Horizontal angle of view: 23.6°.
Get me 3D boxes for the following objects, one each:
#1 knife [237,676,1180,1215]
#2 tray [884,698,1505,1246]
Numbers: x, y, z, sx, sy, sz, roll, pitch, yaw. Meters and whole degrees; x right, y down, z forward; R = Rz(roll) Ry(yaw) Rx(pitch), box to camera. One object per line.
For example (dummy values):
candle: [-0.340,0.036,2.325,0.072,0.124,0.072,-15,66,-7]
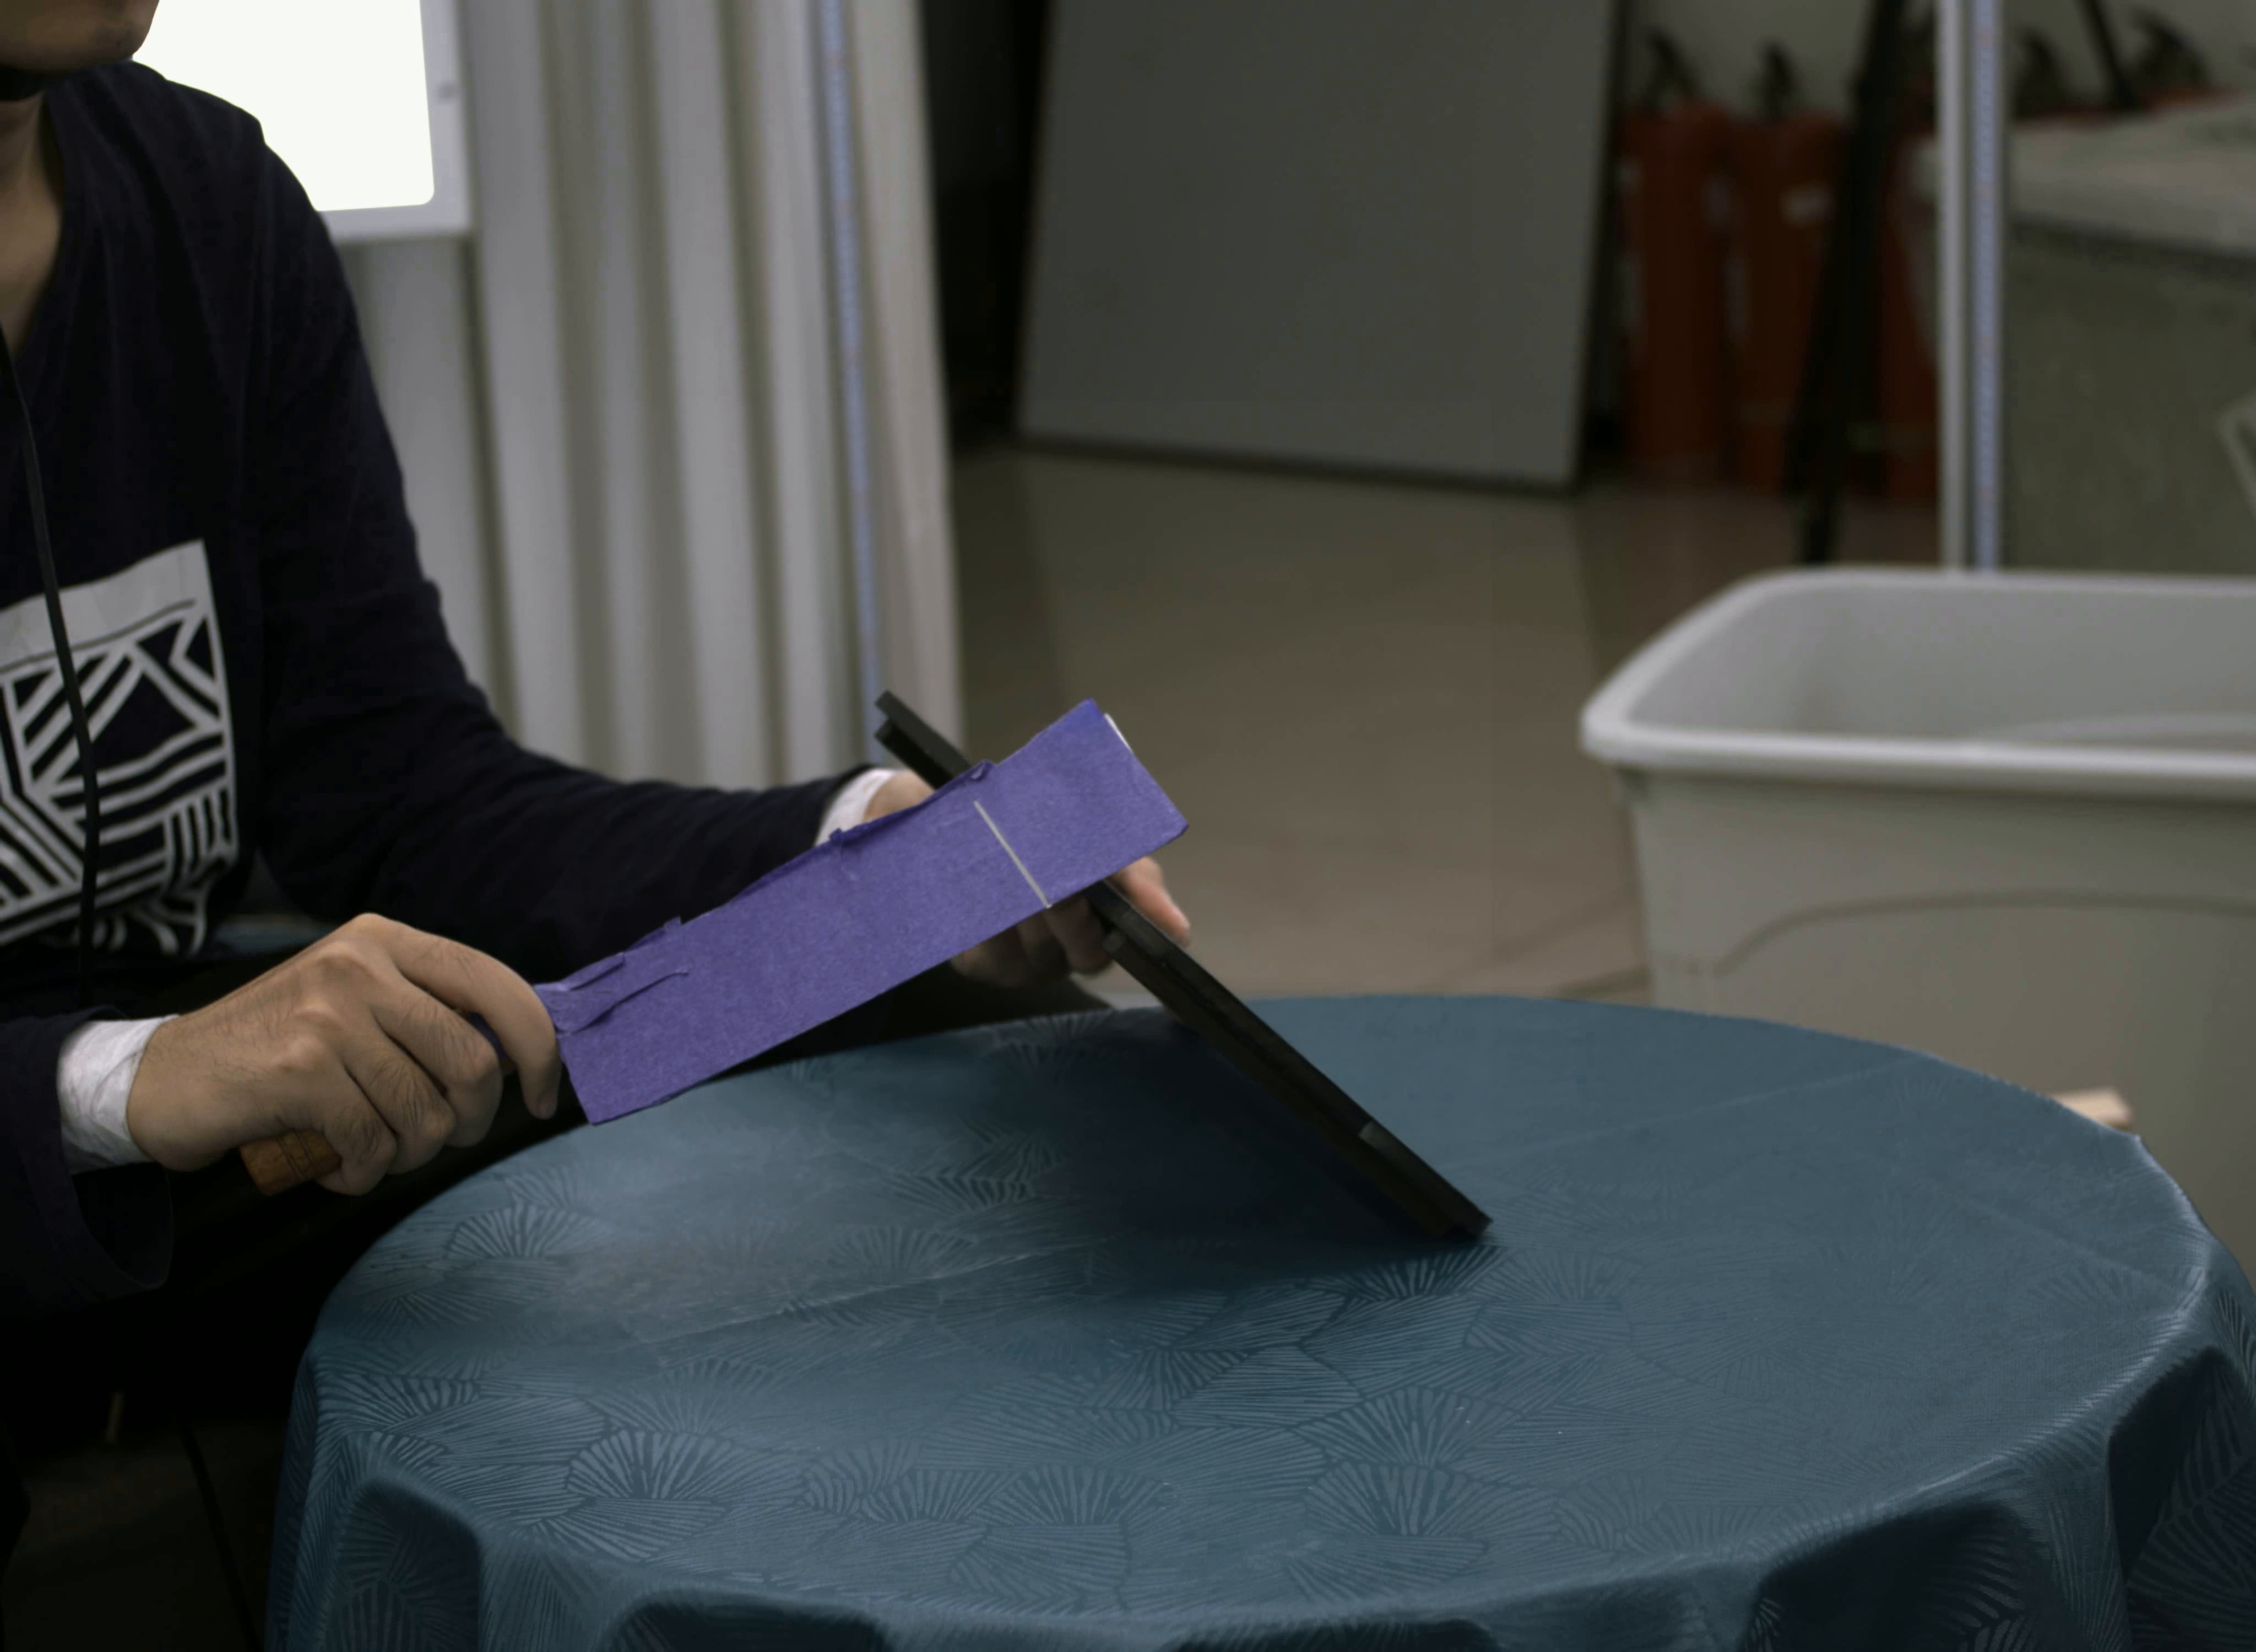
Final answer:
knife: [-0.131,0.047,1.685,0.313,0.032,0.105,-30,30,-1]
tray: [0.014,0.047,1.803,0.018,0.168,0.308,-49,23,-1]
